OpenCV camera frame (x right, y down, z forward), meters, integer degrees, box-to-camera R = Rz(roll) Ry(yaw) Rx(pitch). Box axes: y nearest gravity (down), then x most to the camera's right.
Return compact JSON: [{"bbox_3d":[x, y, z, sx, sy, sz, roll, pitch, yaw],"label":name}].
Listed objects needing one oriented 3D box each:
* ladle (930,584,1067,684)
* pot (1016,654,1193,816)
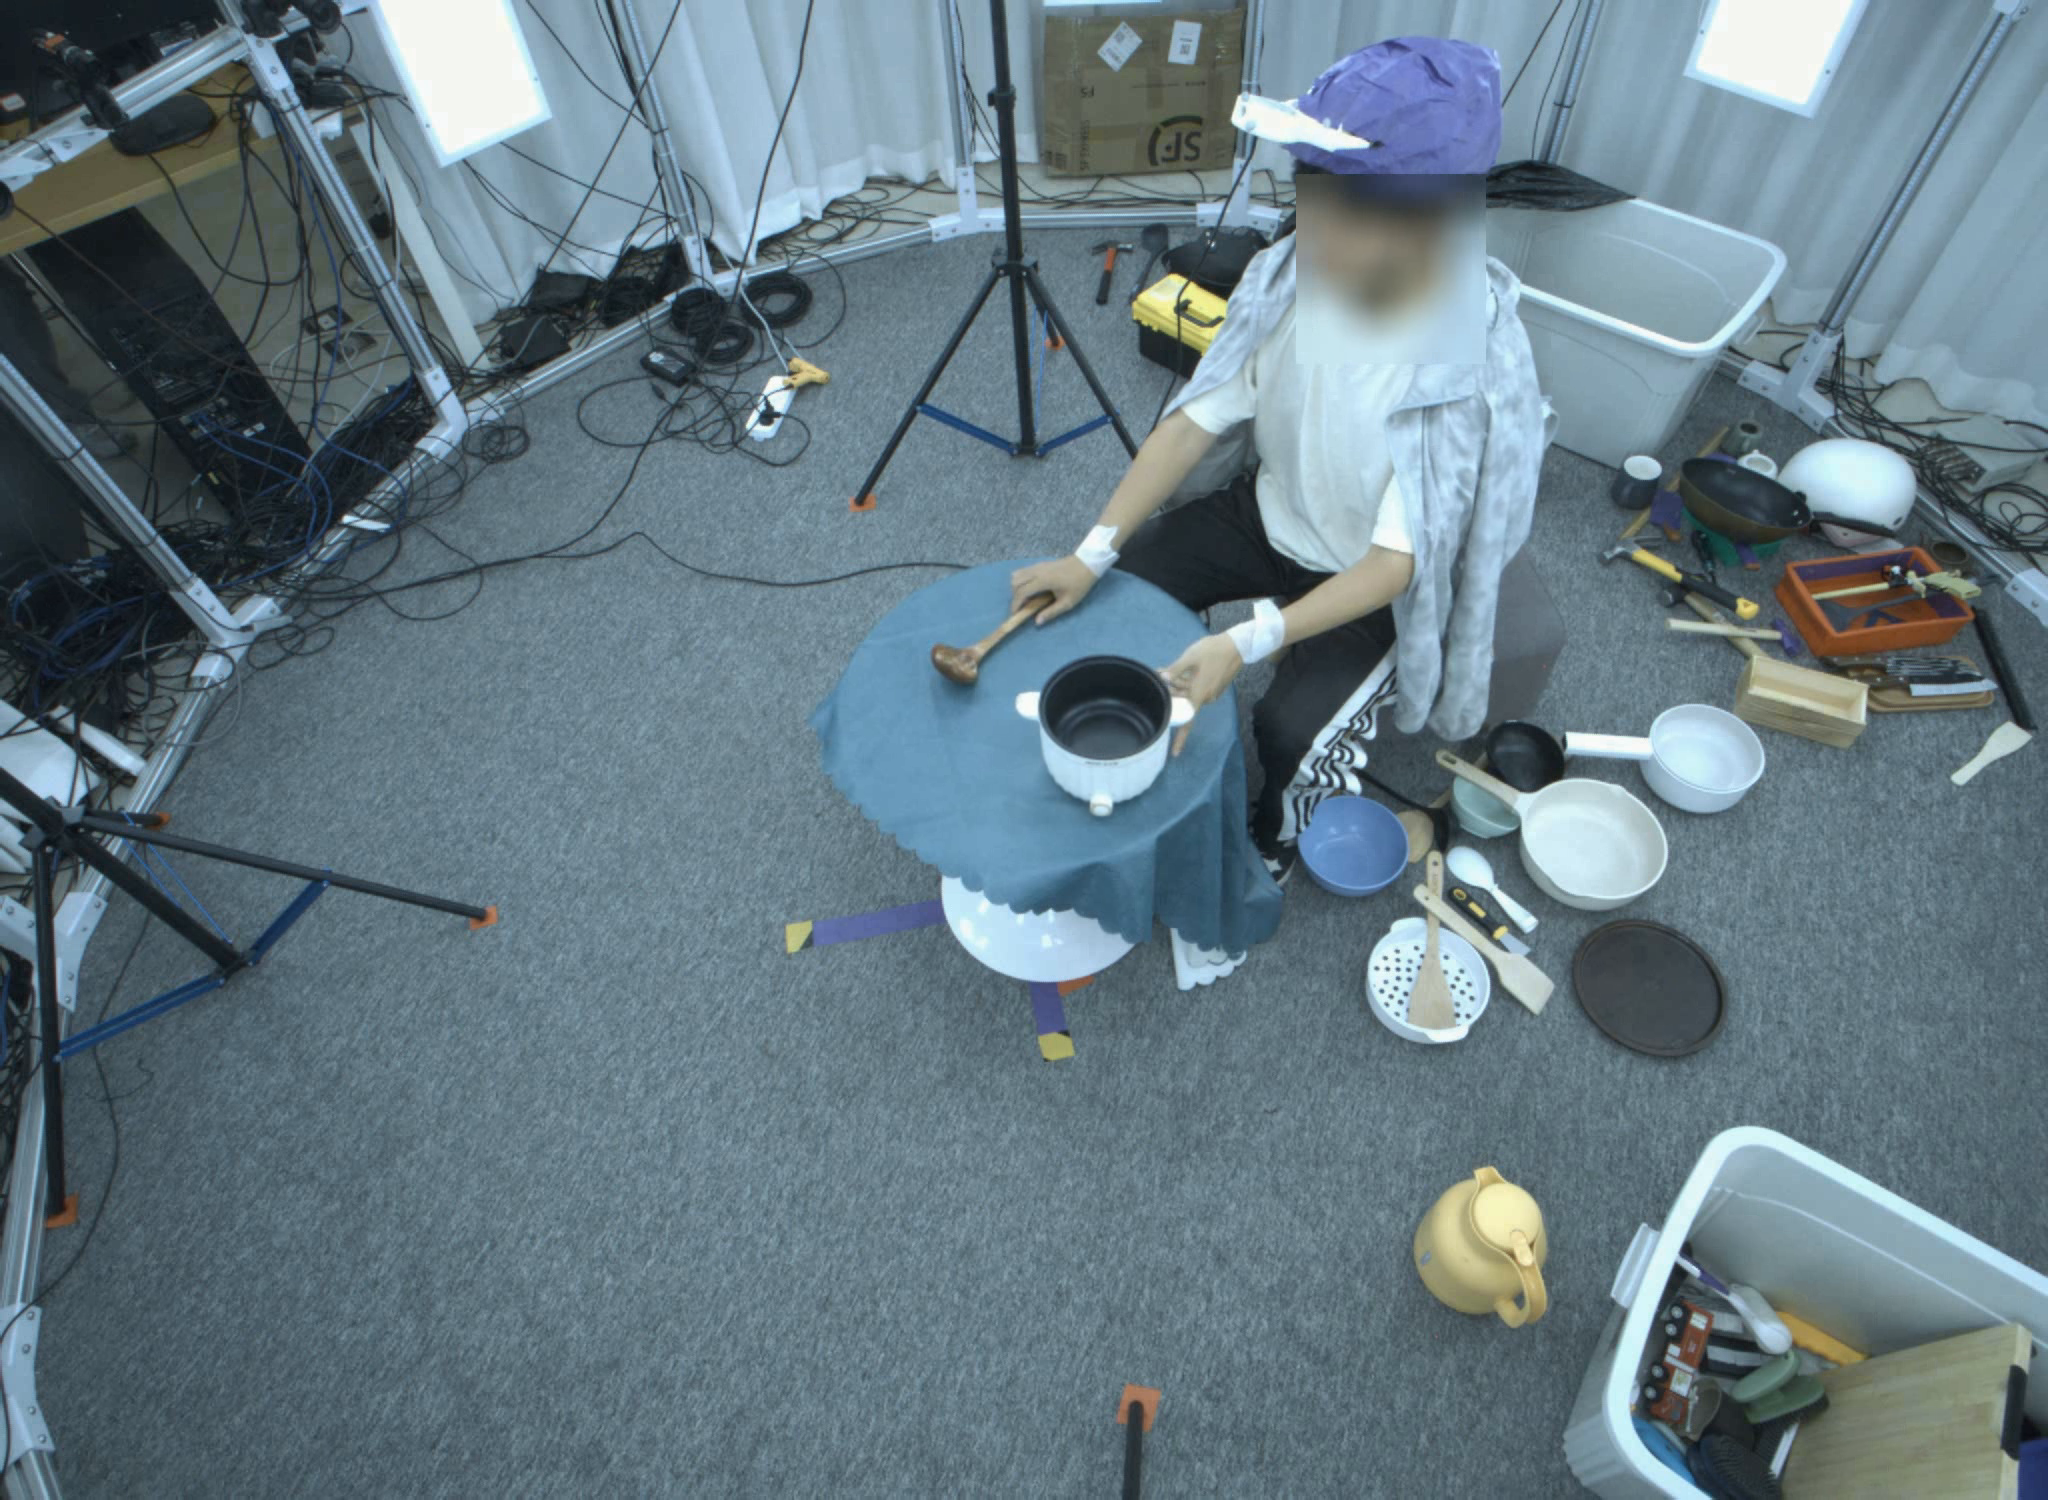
[{"bbox_3d":[-0.032,-0.193,1.880,0.276,0.076,0.081,-39,84,-24],"label":"ladle"},{"bbox_3d":[0.113,-0.018,1.713,0.239,0.144,0.189,1,51,5],"label":"pot"}]
